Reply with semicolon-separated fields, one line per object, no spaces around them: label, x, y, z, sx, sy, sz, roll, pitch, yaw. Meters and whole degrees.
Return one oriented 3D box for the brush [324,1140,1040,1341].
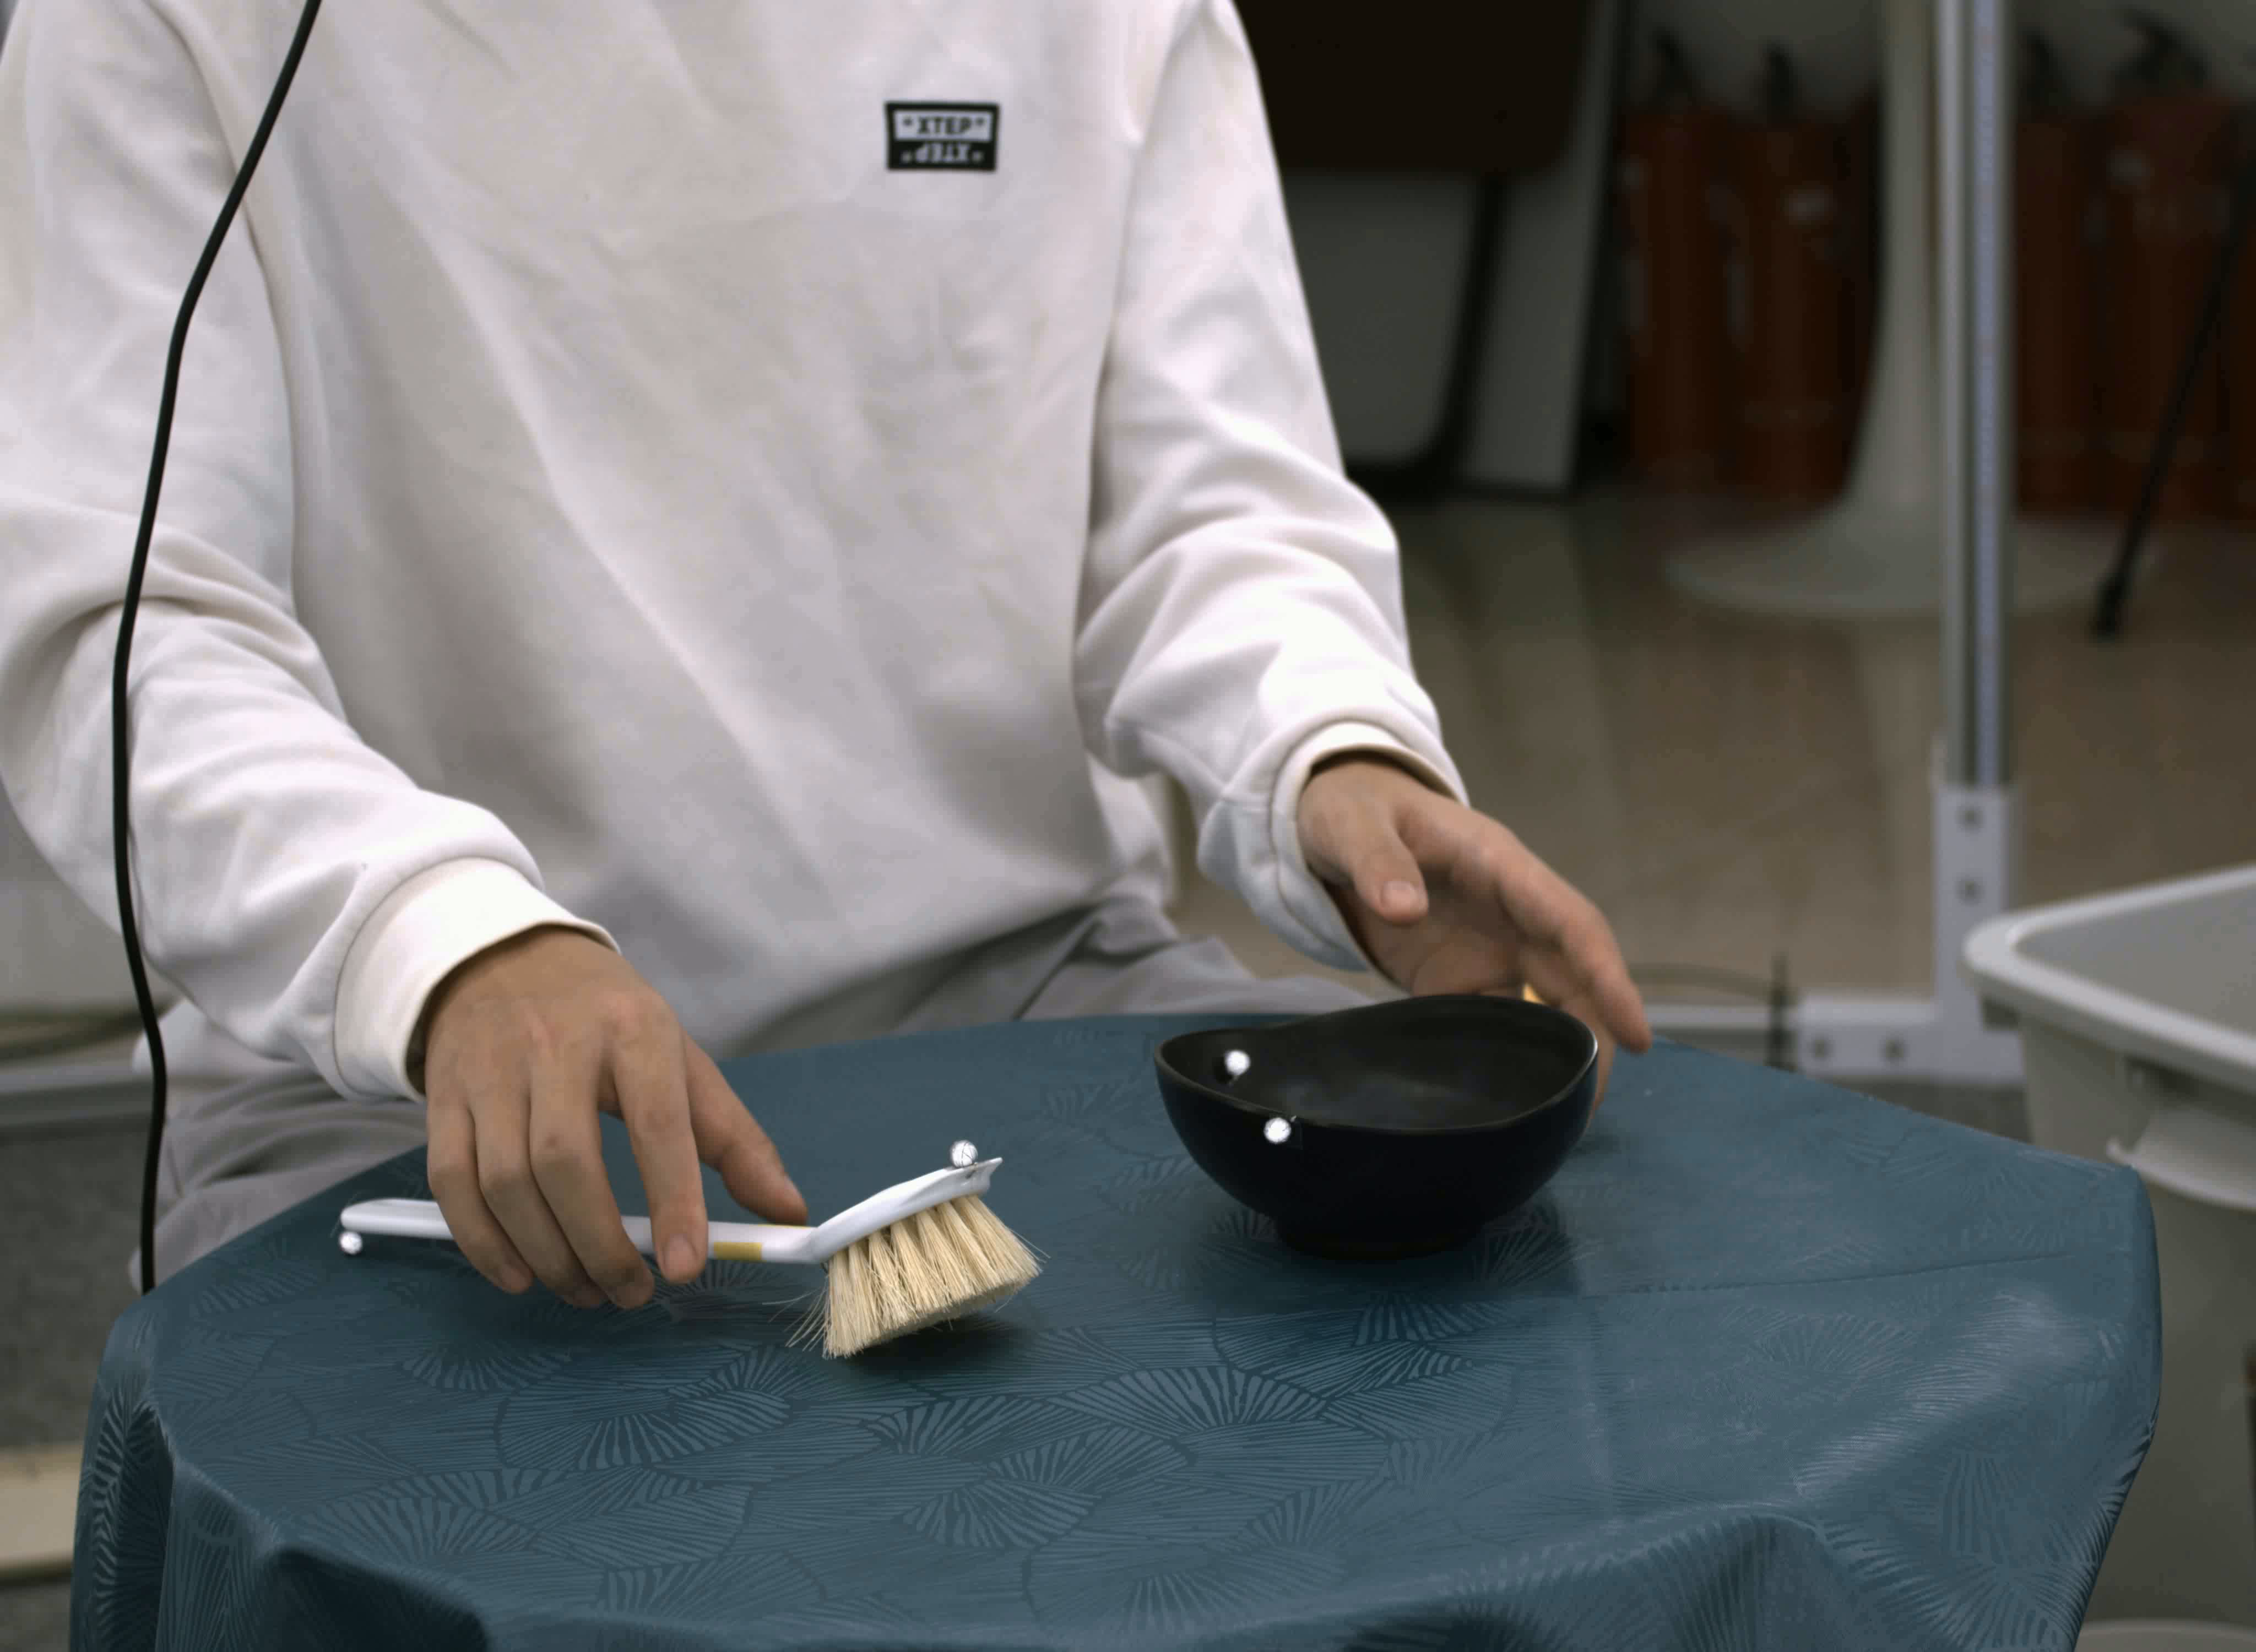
brush;-0.143;0.138;1.693;0.268;0.057;0.067;-8;-6;32

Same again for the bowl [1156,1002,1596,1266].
bowl;0.079;0.100;1.709;0.134;0.067;0.172;-8;11;-19
